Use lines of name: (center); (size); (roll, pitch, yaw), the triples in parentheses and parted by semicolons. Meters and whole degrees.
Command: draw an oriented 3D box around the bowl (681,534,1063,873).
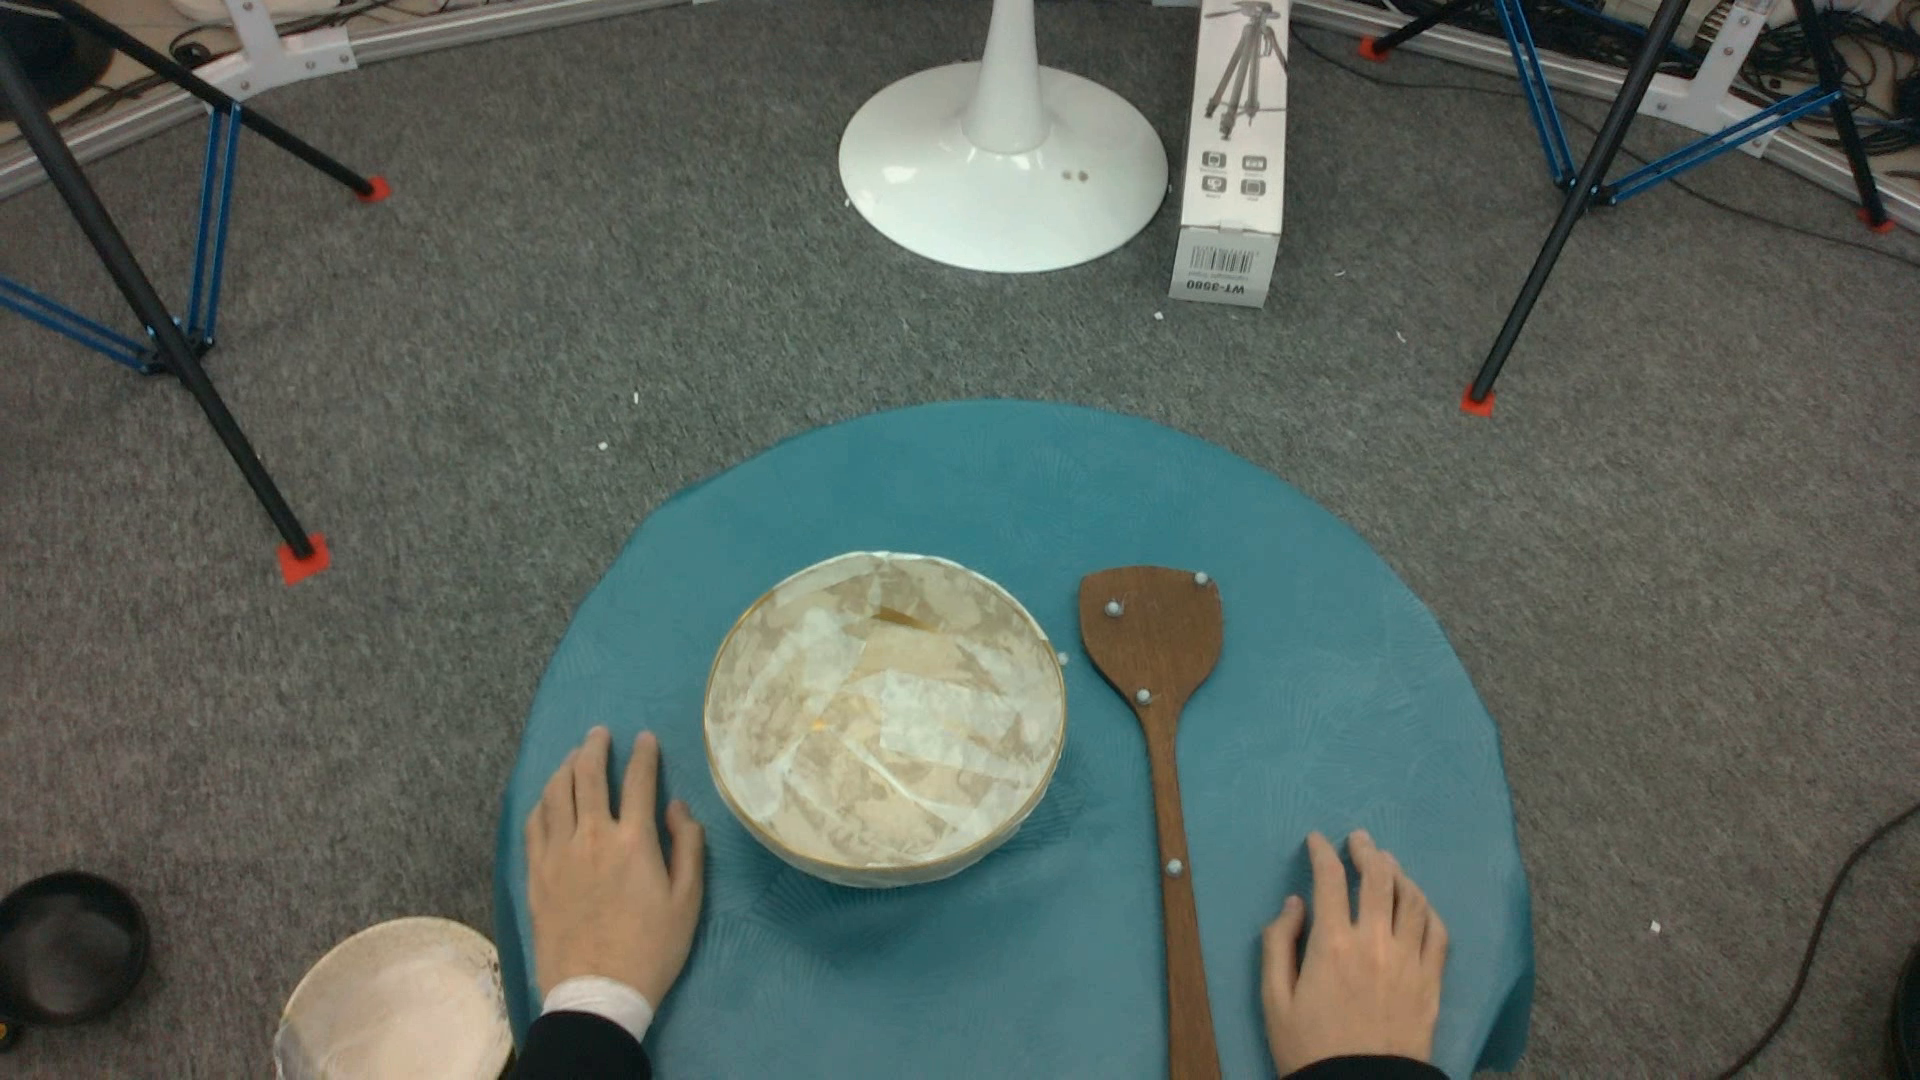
bowl: (-0.051, 0.105, 0.785); (0.215, 0.094, 0.215); (3, 54, -4)

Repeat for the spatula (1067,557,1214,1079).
spatula: (0.117, 0.169, 0.799); (0.096, 0.016, 0.387); (1, 54, -2)
